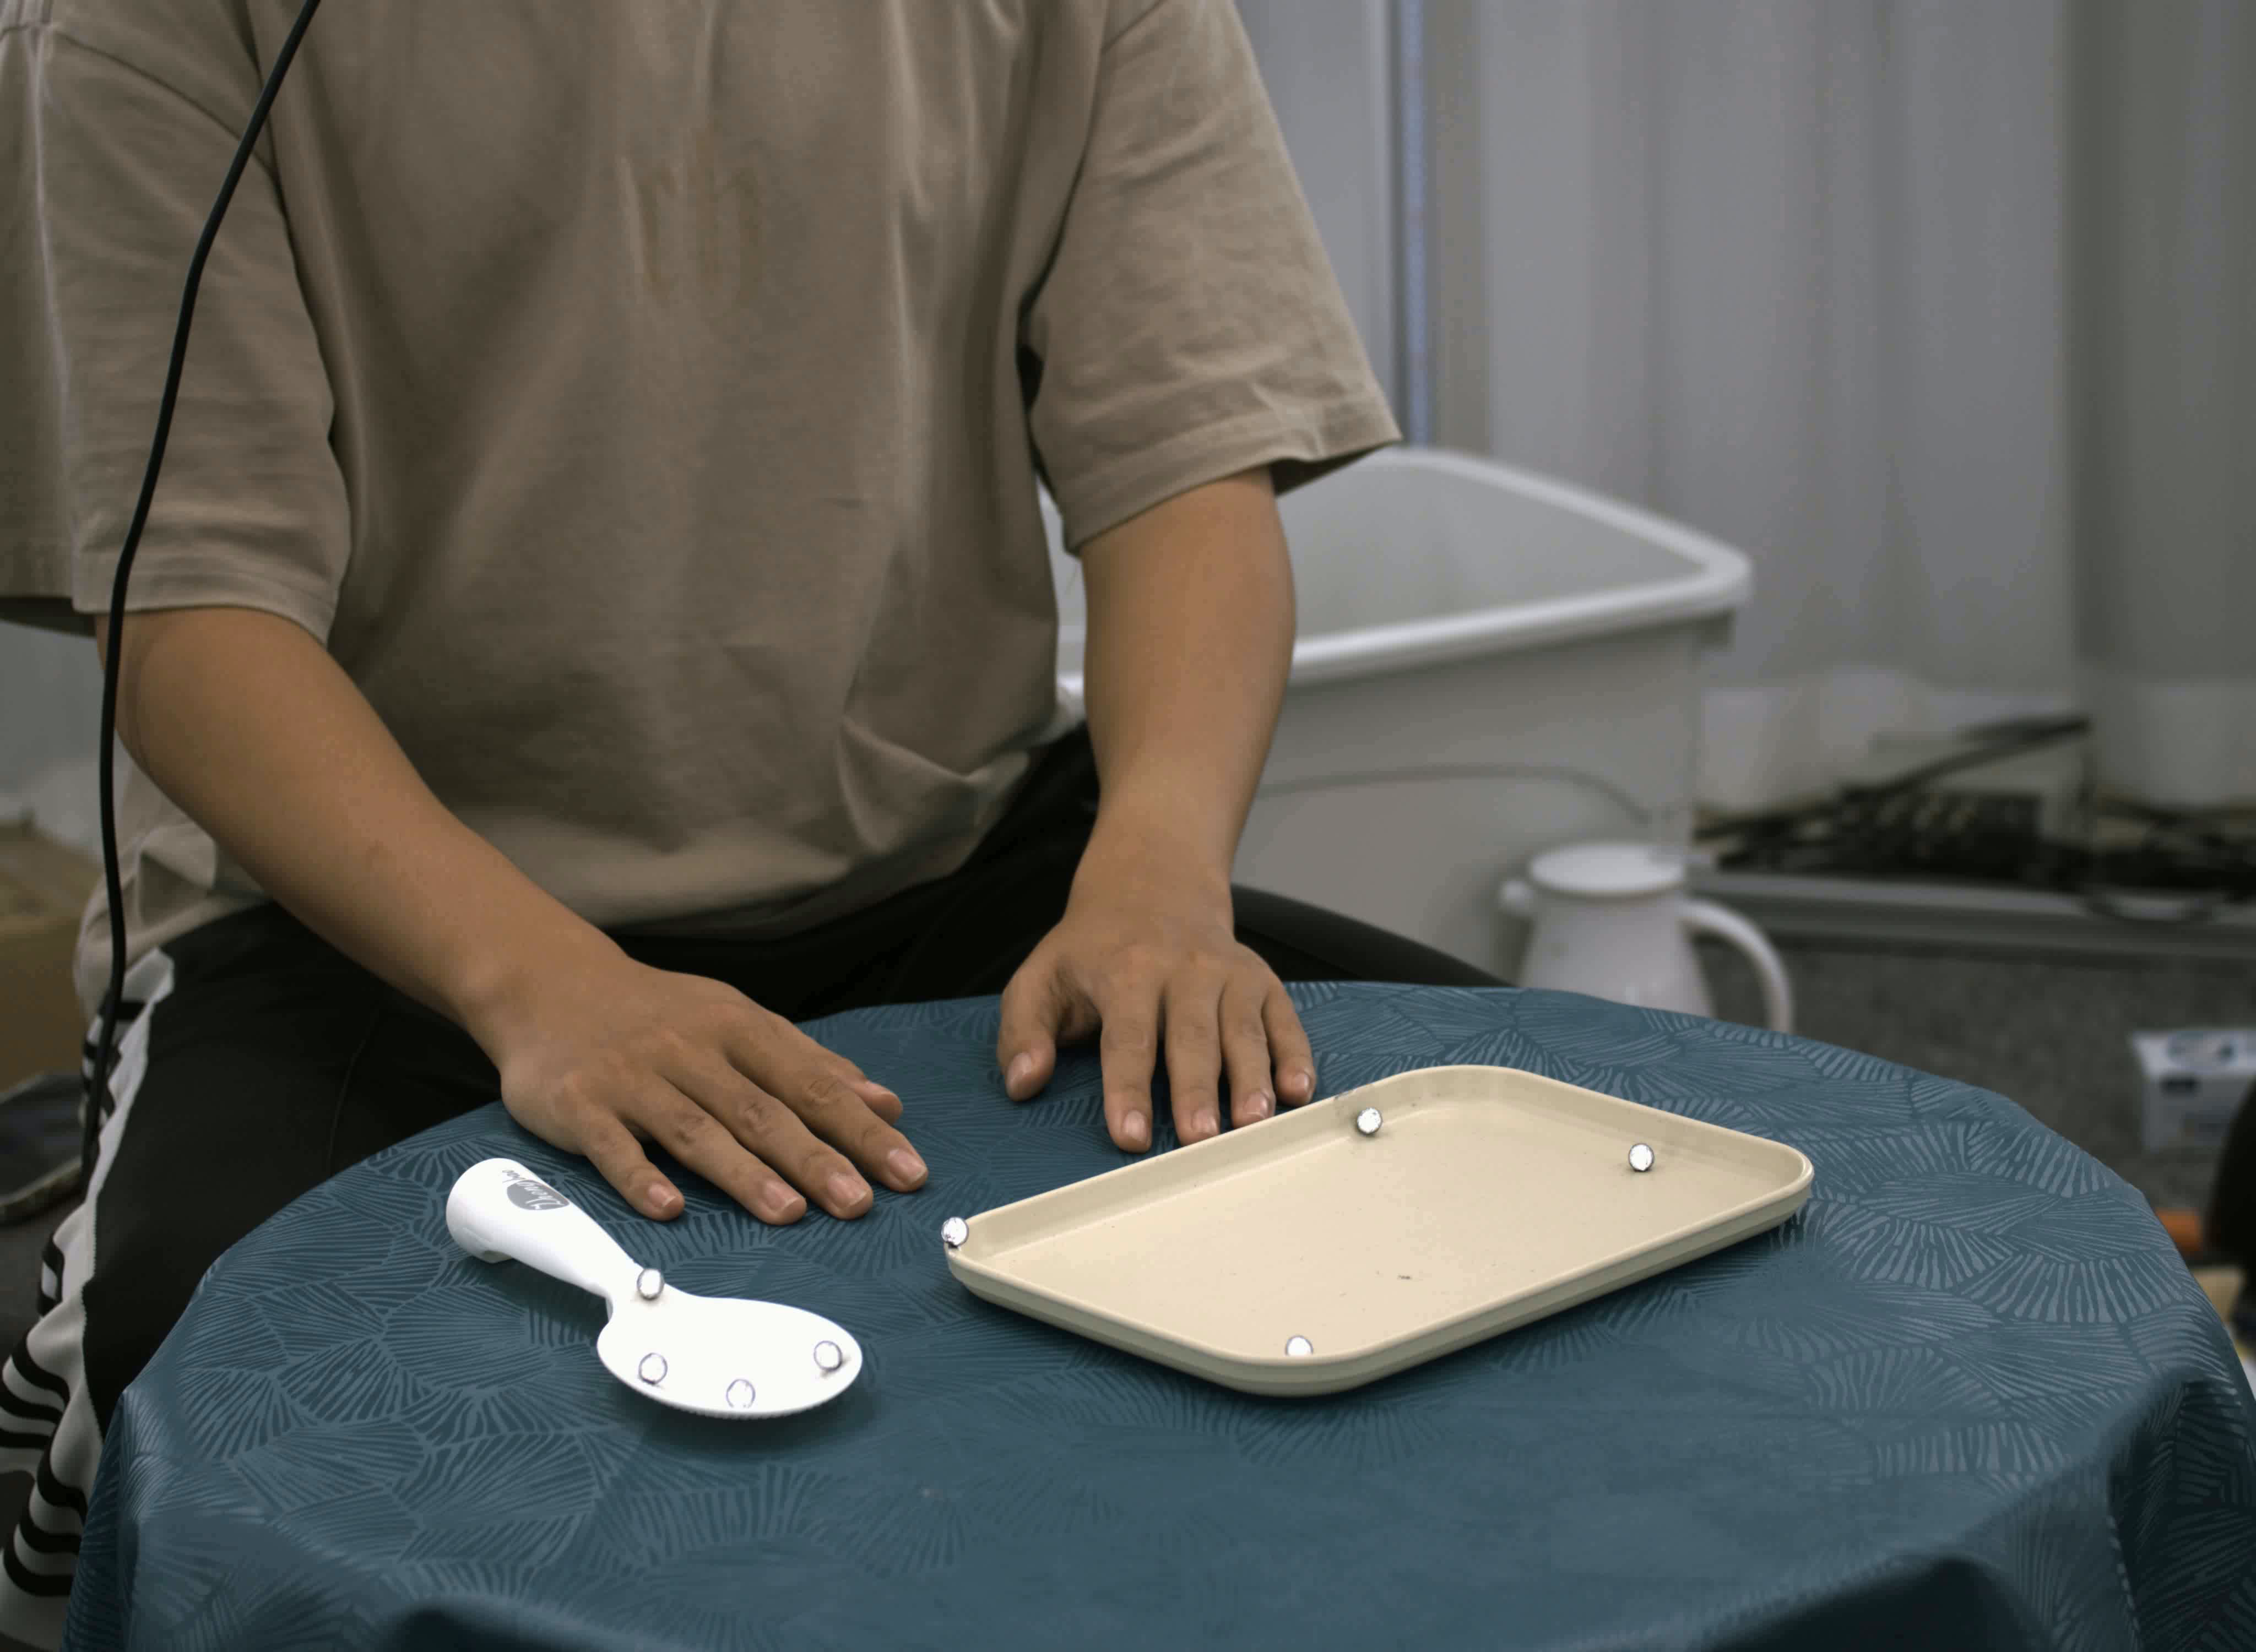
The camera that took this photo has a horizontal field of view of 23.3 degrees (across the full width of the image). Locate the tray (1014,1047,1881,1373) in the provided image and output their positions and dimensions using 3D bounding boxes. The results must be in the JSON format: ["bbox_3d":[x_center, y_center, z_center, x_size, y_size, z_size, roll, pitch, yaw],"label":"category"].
[{"bbox_3d":[0.098,0.114,1.647,0.239,0.017,0.172,-15,20,-39],"label":"tray"}]

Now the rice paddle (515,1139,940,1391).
[{"bbox_3d":[-0.121,0.130,1.600,0.068,0.029,0.207,-13,18,-29],"label":"rice paddle"}]
